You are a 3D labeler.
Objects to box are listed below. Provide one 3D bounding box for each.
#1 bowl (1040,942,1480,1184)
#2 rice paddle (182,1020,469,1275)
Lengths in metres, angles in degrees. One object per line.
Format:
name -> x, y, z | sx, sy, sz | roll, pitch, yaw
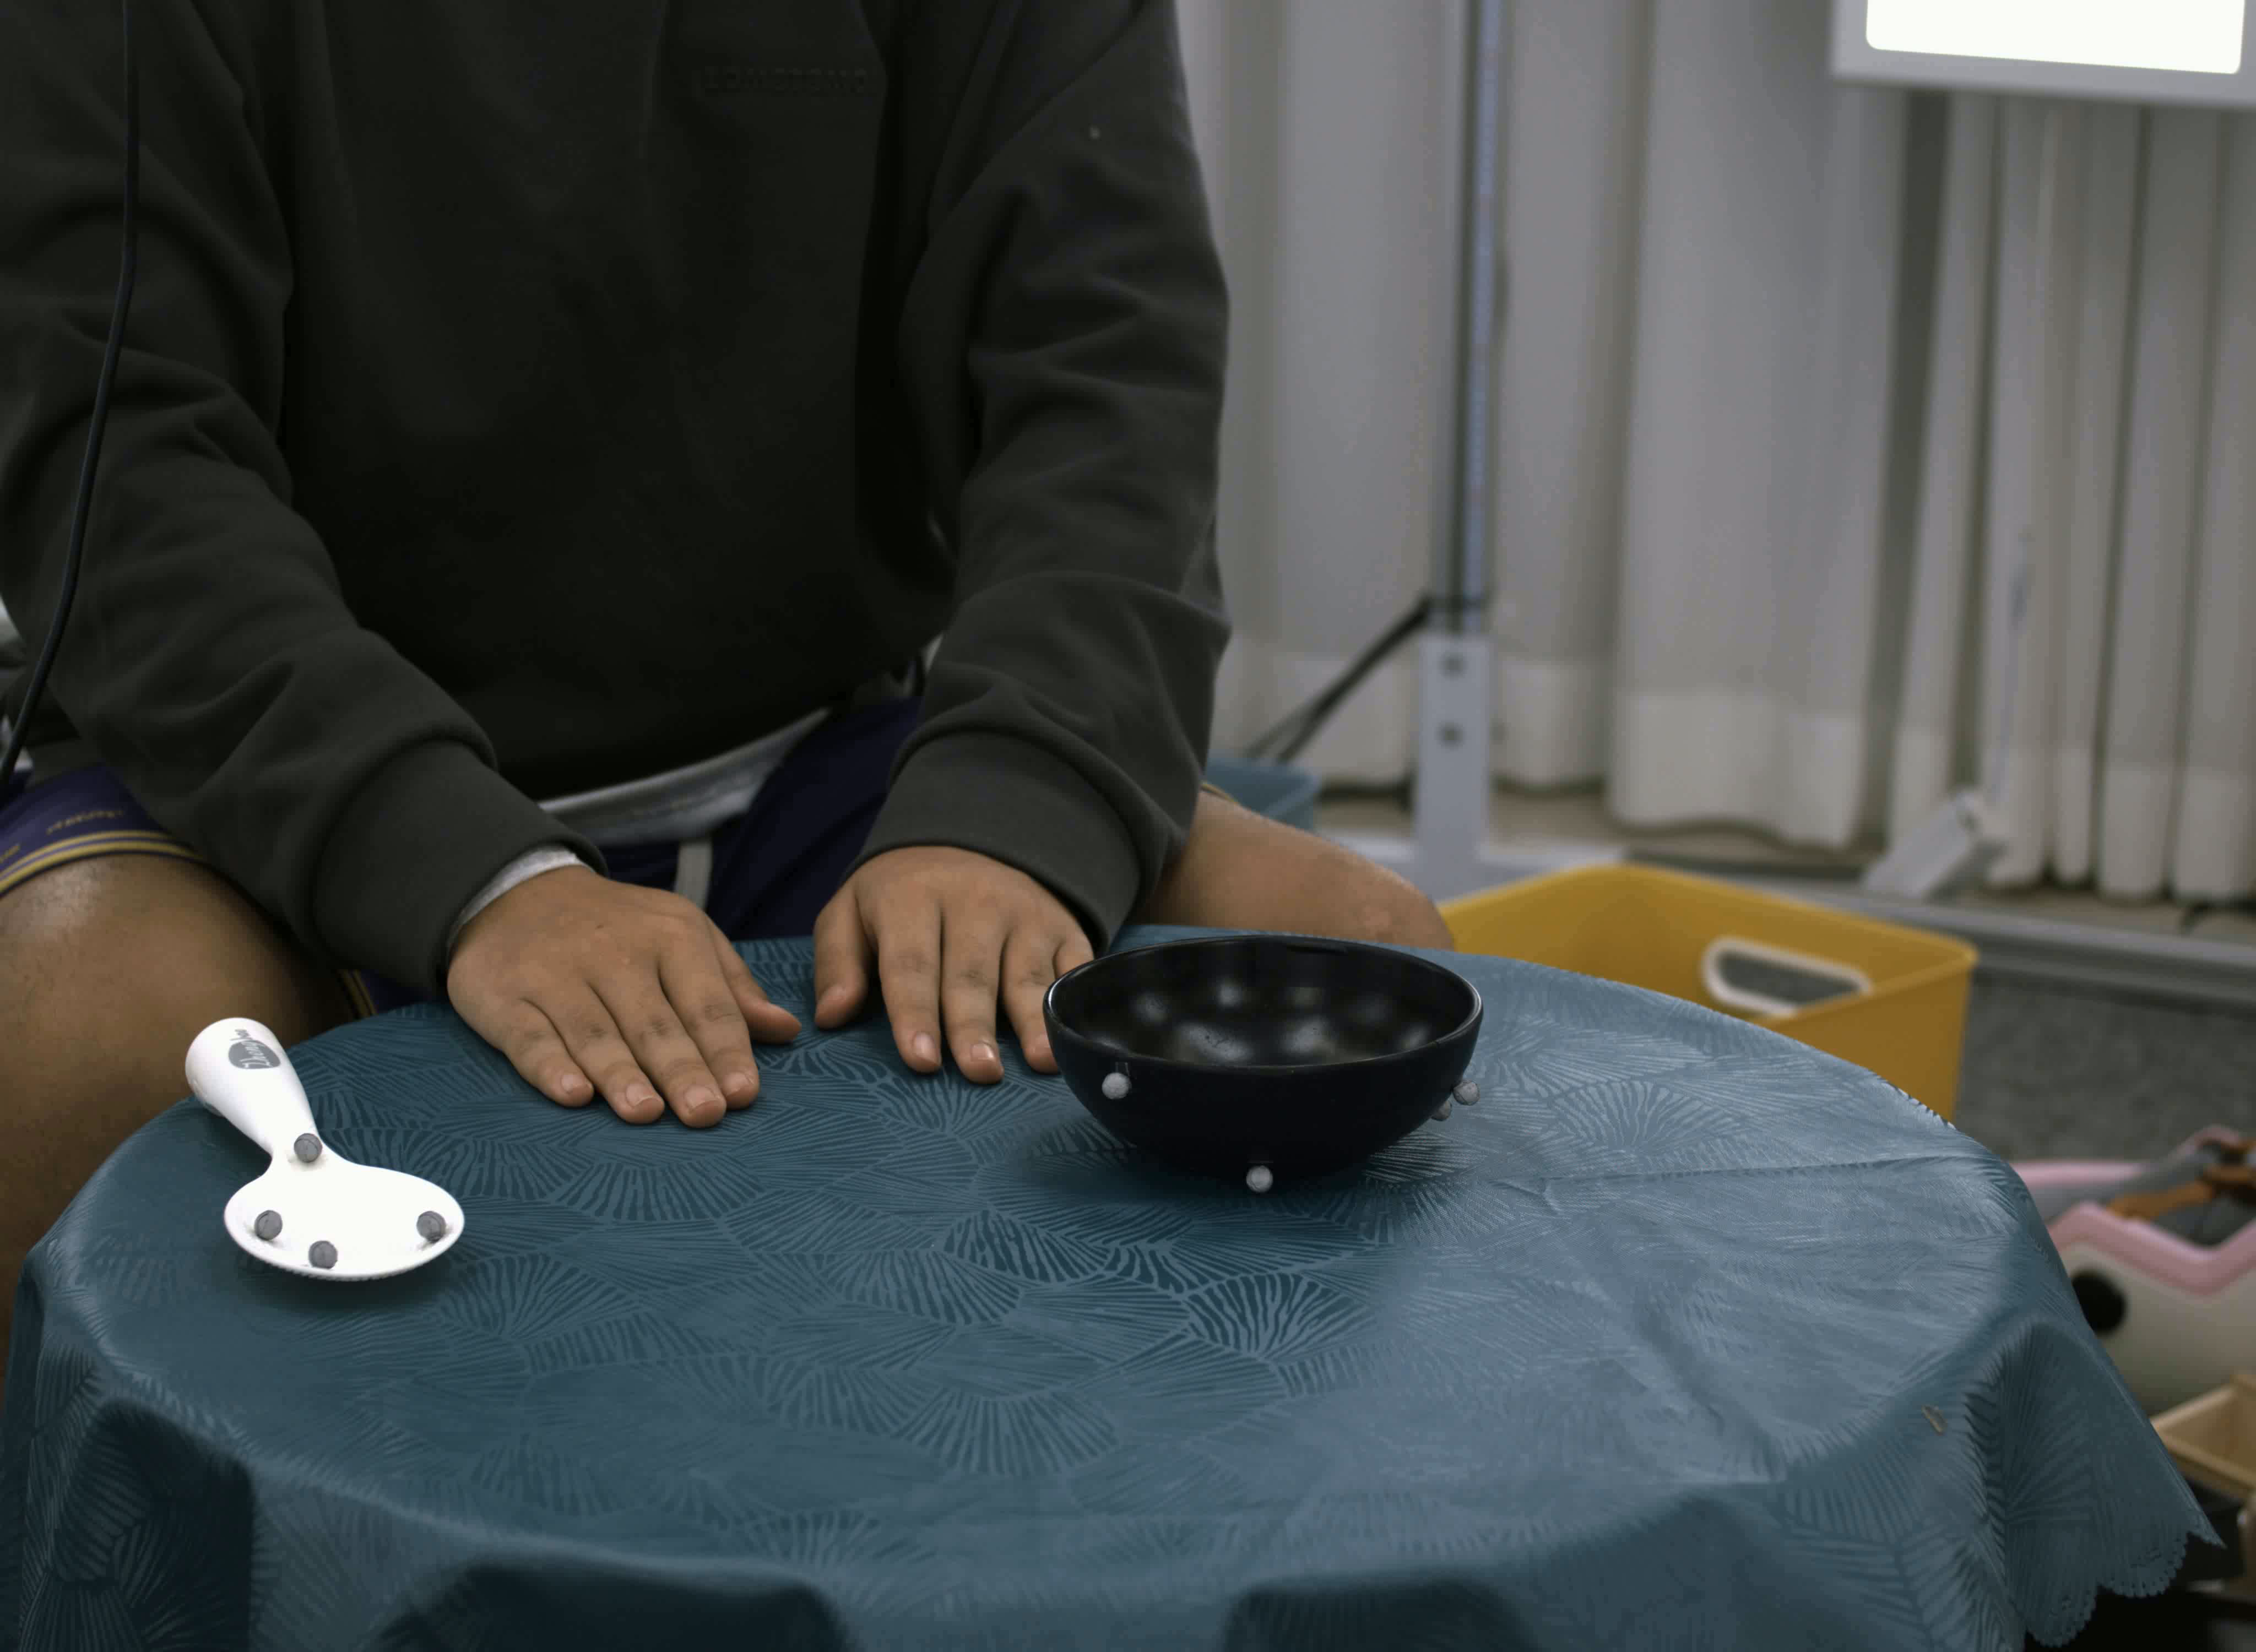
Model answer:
bowl -> 0.042, 0.078, 1.660 | 0.139, 0.050, 0.139 | -1, 15, 1
rice paddle -> -0.251, 0.100, 1.603 | 0.069, 0.029, 0.203 | -7, 16, -21
